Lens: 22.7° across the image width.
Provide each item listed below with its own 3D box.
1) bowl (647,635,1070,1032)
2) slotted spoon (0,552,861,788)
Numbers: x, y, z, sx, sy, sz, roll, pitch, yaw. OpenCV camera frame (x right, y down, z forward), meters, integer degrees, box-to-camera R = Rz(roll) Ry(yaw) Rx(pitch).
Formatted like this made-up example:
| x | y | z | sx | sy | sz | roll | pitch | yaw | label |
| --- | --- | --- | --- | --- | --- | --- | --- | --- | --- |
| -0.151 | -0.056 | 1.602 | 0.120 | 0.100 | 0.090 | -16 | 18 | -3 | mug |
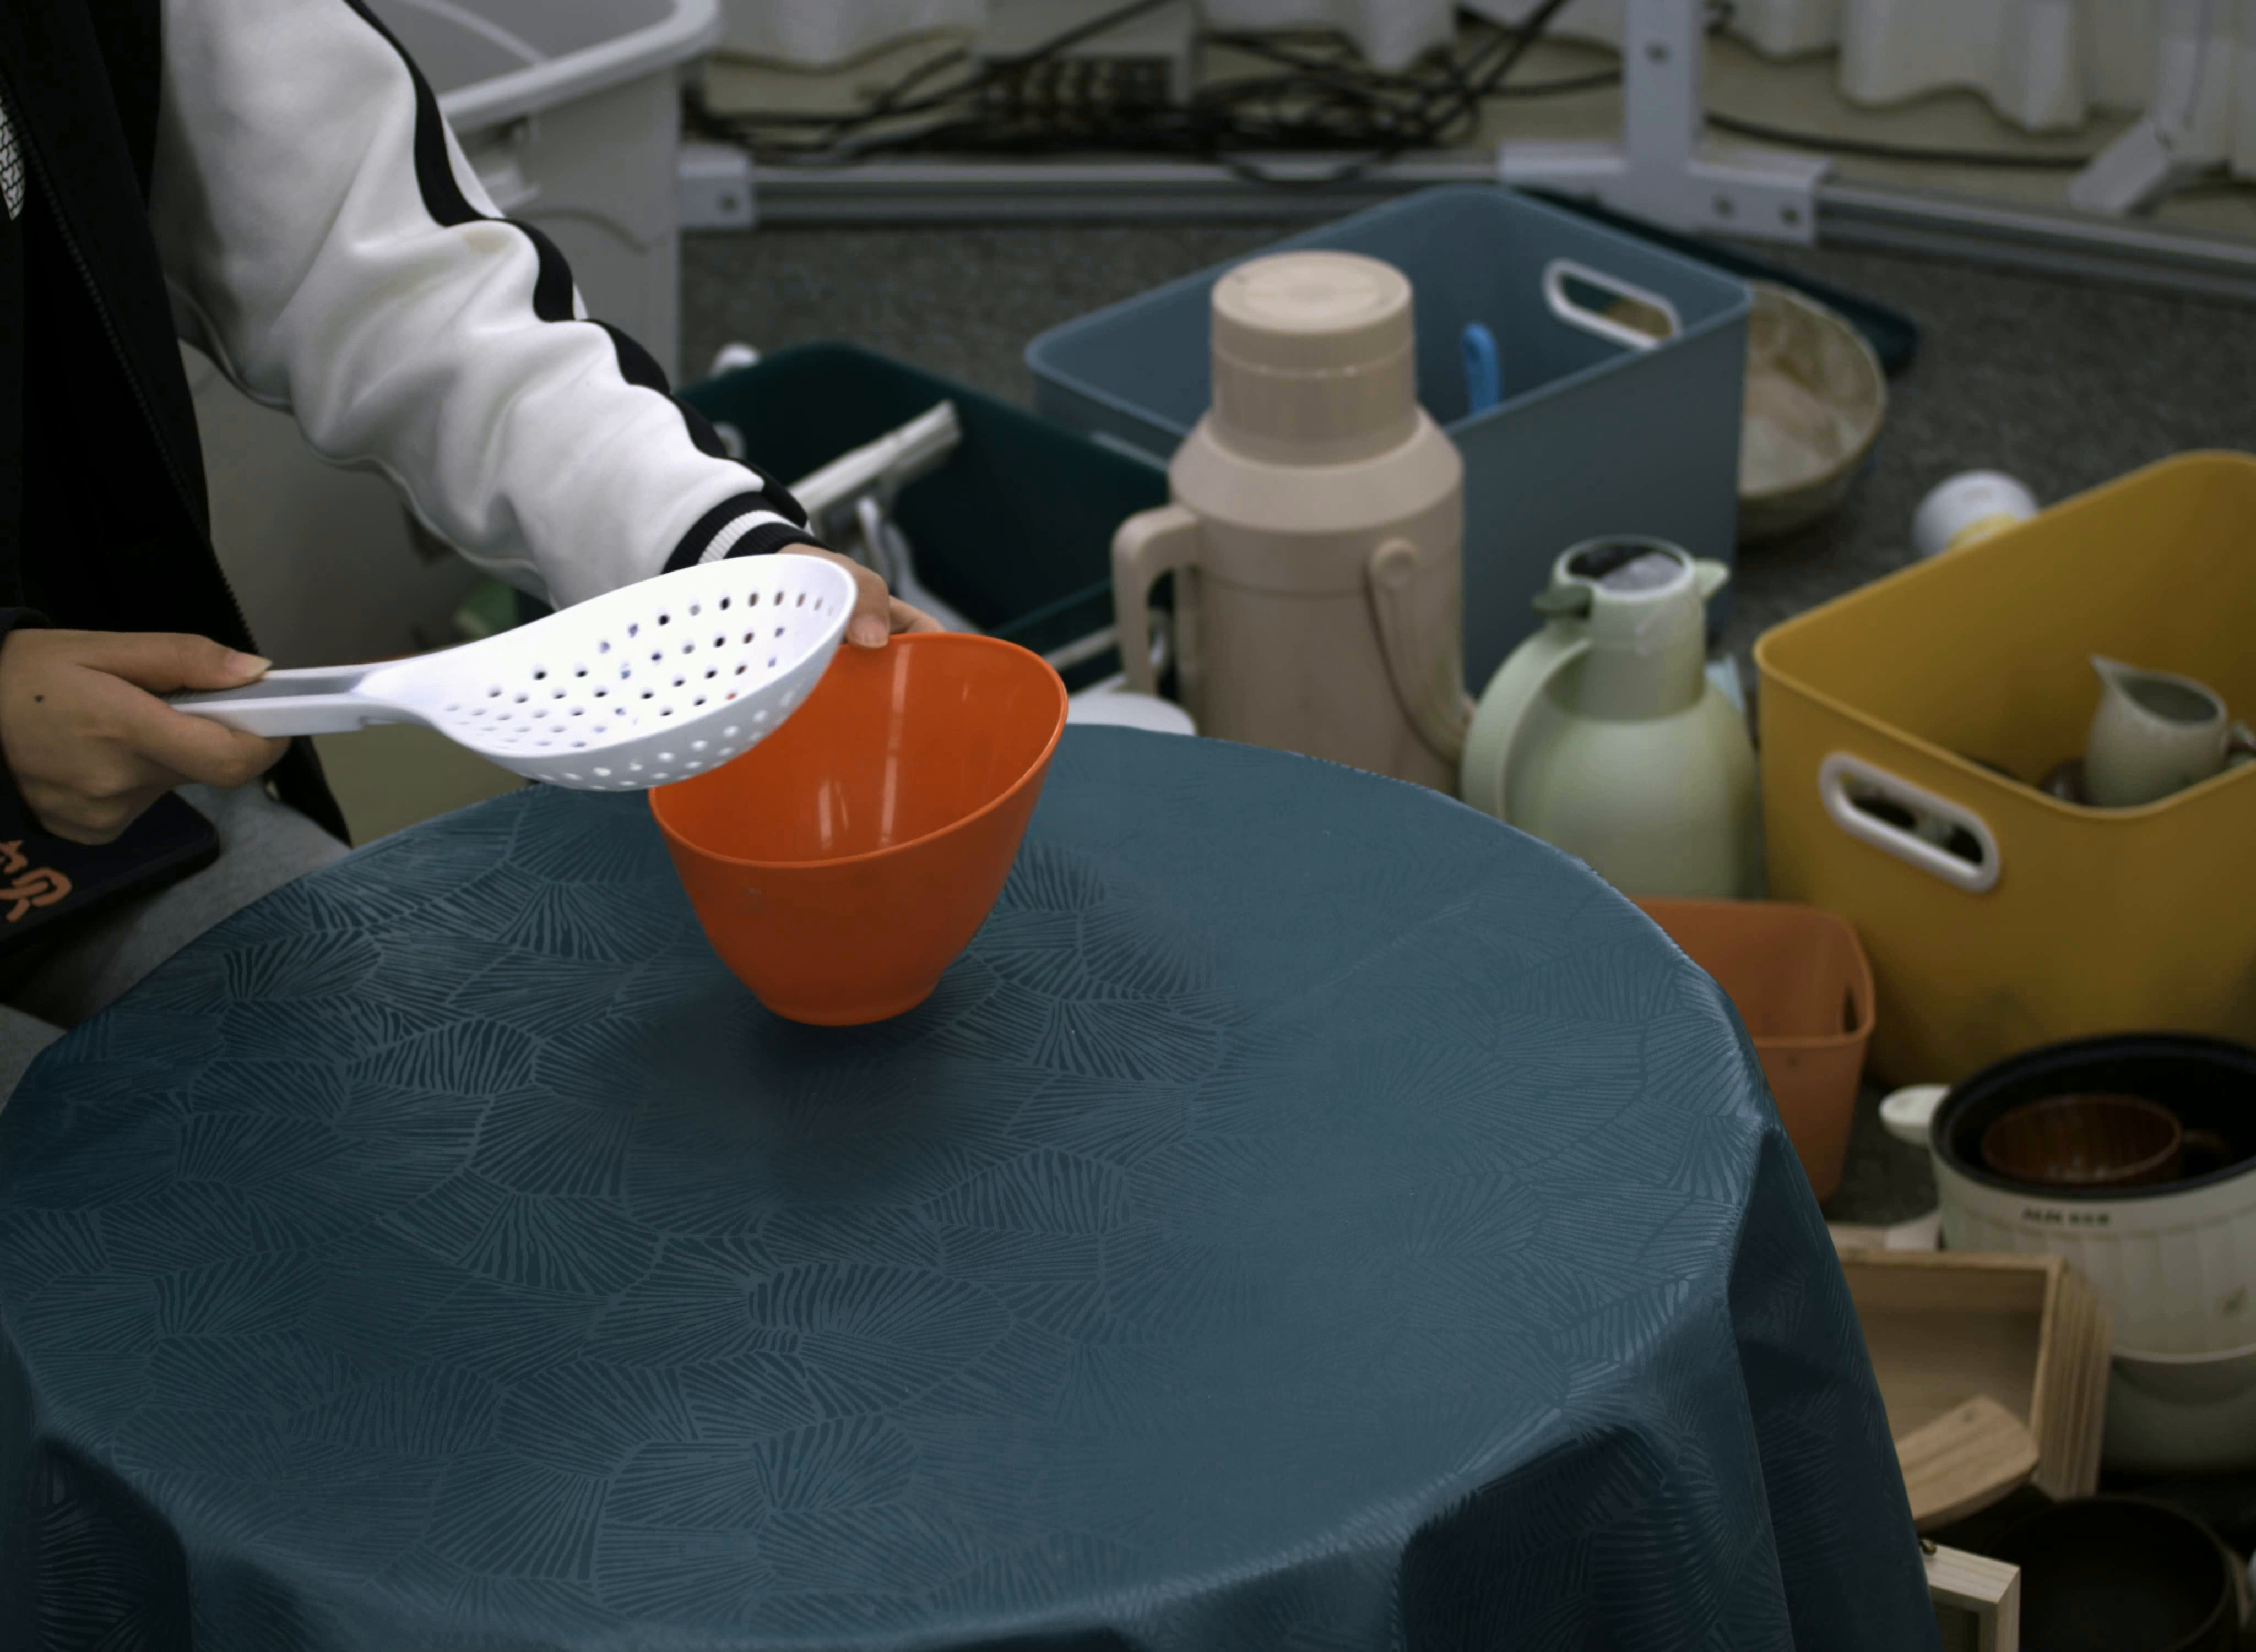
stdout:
| x | y | z | sx | sy | sz | roll | pitch | yaw | label |
| --- | --- | --- | --- | --- | --- | --- | --- | --- | --- |
| -0.091 | 0.009 | 1.948 | 0.147 | 0.103 | 0.150 | -2 | 30 | 2 | bowl |
| -0.240 | -0.045 | 1.871 | 0.346 | 0.045 | 0.138 | 2 | 30 | 29 | slotted spoon |
